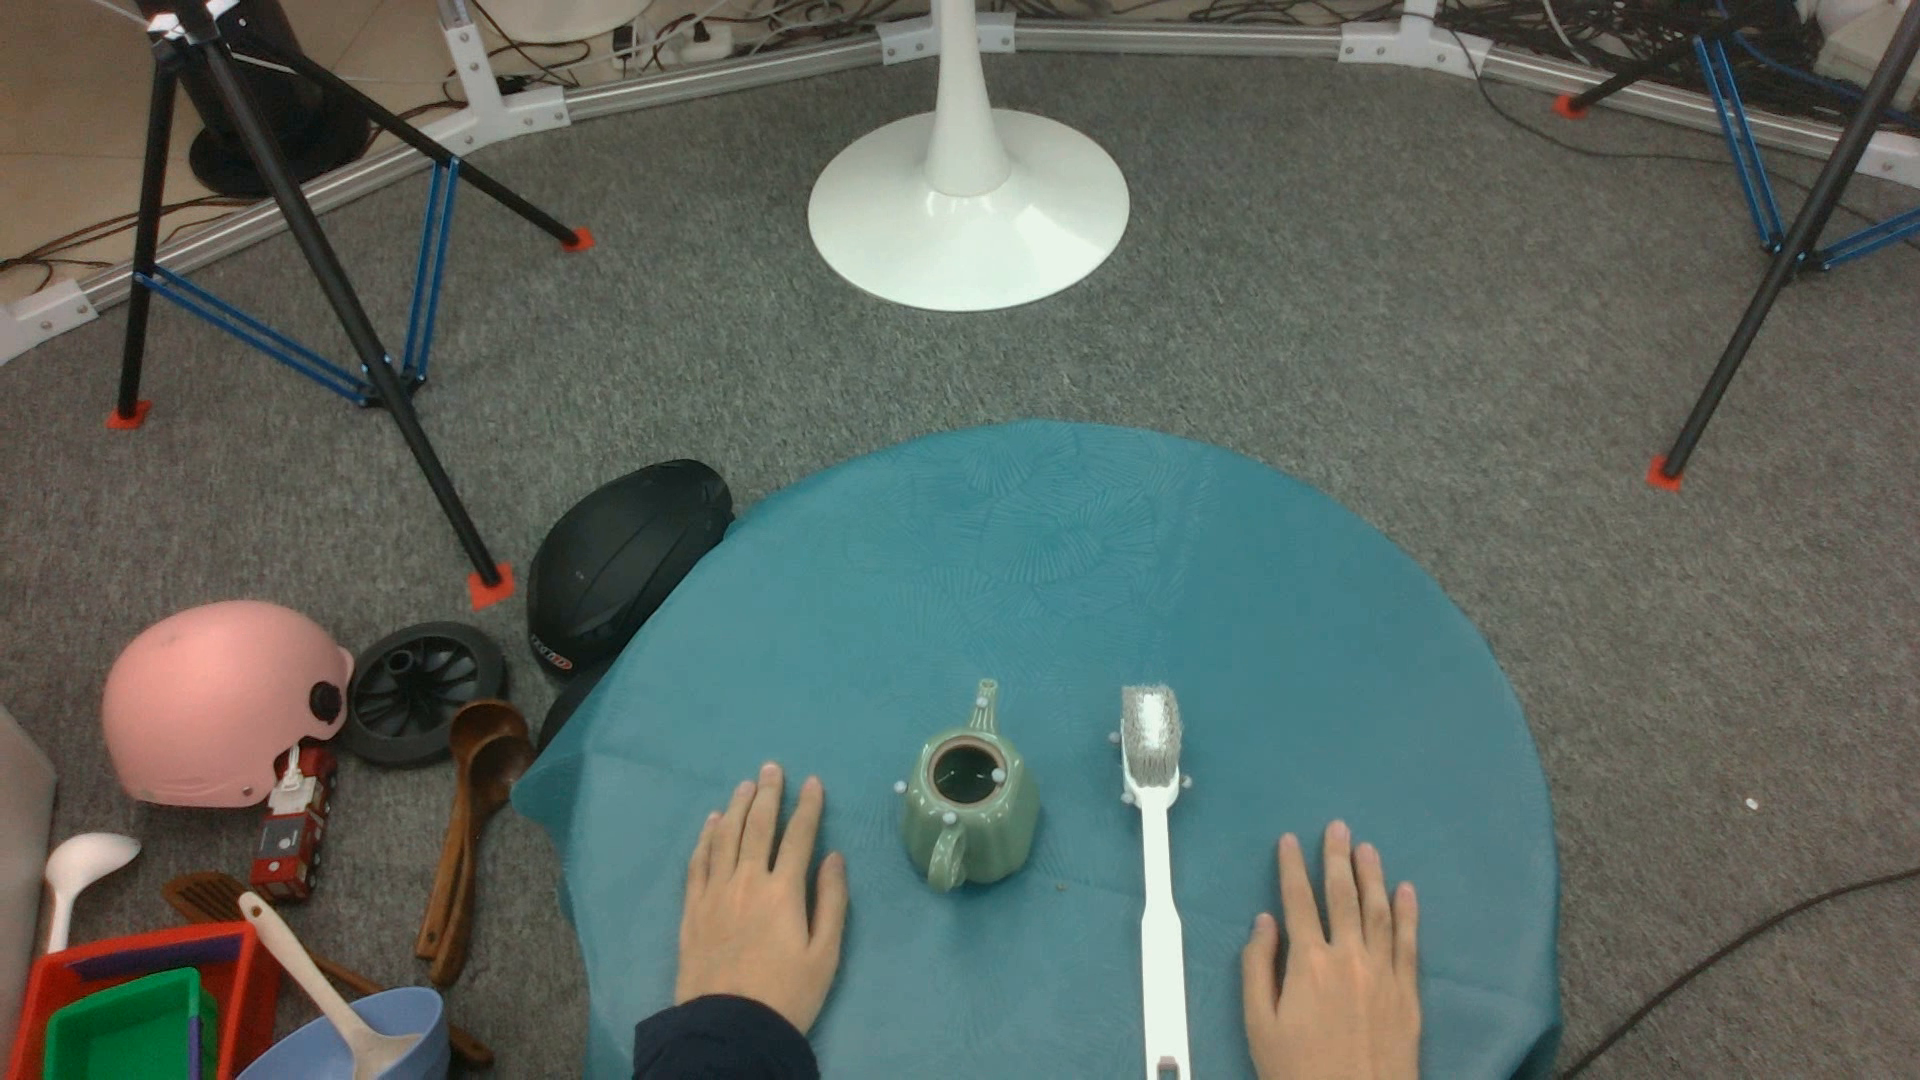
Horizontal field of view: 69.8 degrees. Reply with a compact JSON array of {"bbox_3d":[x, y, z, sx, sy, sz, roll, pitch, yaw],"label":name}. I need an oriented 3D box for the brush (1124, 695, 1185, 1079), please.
[{"bbox_3d":[0.112,0.197,0.797,0.034,0.050,0.245,5,51,2],"label":"brush"}]

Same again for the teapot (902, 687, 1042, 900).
[{"bbox_3d":[0.006,0.159,0.818,0.079,0.075,0.133,8,52,11],"label":"teapot"}]
